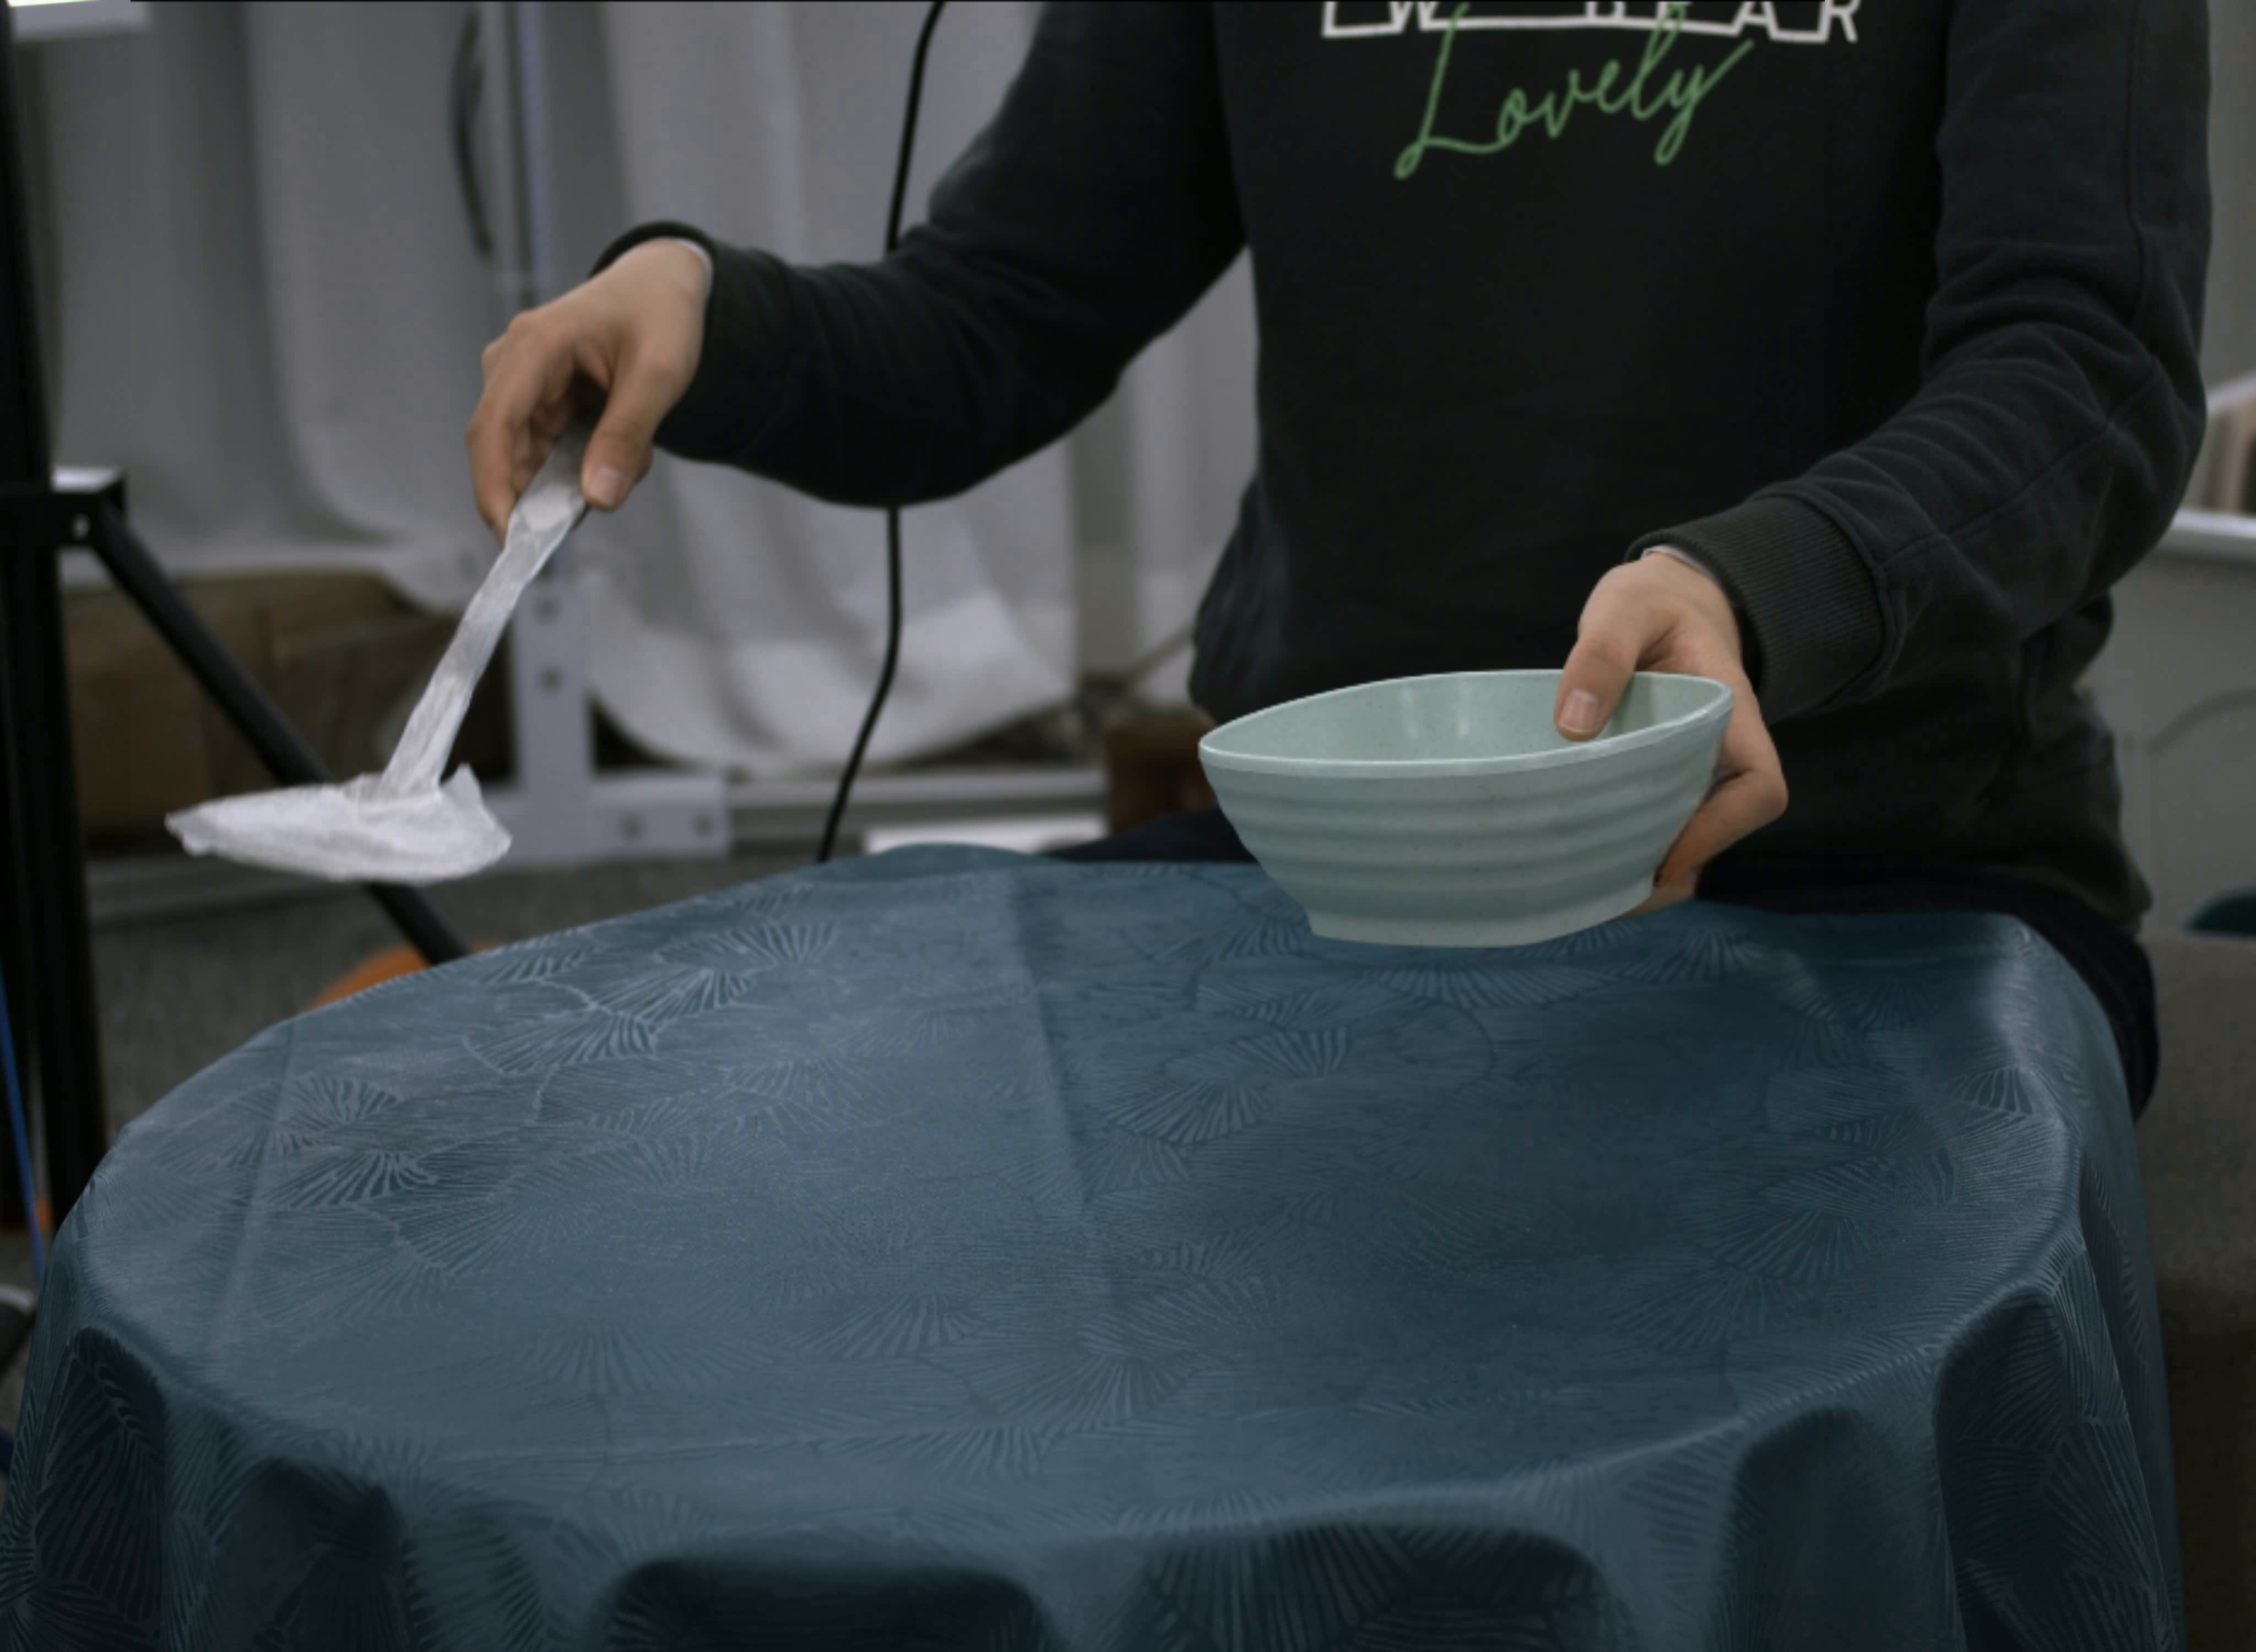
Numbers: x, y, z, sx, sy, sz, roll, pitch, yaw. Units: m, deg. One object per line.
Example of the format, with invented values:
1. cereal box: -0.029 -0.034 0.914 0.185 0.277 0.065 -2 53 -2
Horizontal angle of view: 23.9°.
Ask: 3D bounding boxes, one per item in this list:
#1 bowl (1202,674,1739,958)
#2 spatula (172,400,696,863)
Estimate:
1. bowl: 0.097 -0.001 1.478 0.151 0.059 0.152 -4 11 -1
2. spatula: -0.202 -0.072 1.723 0.099 0.044 0.364 6 34 11
